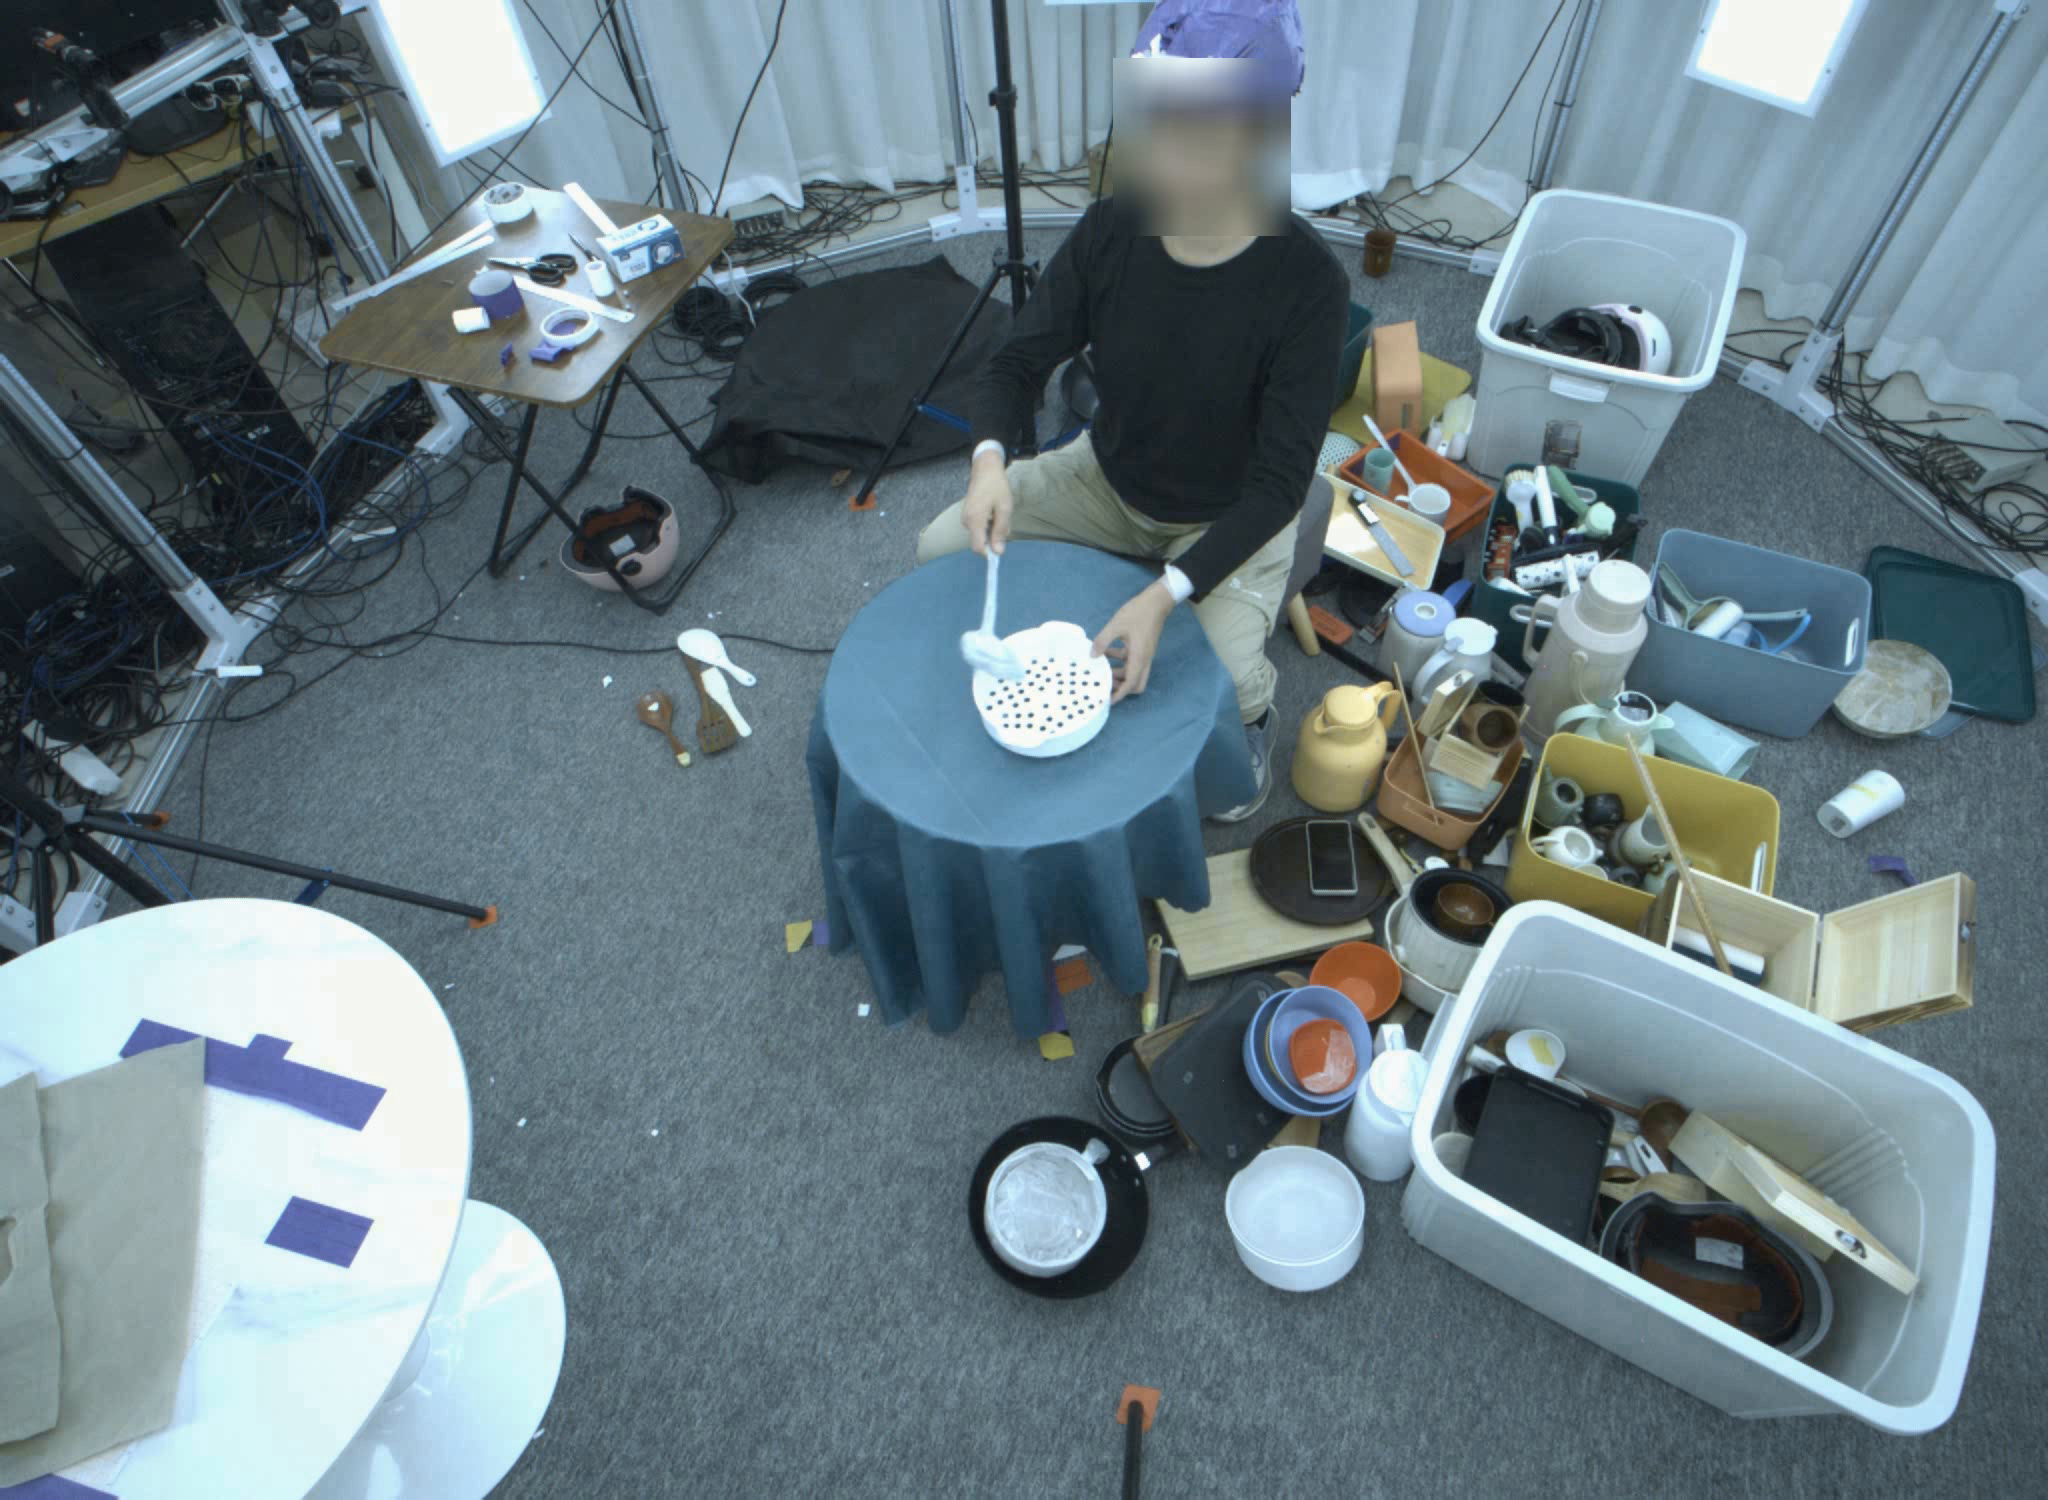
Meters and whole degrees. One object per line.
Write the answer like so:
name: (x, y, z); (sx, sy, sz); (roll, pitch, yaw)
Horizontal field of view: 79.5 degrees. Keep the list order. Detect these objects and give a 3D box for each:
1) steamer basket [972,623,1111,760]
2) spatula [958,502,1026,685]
steamer basket: (0.027, -0.080, 1.797); (0.200, 0.070, 0.230); (14, 59, 13)
spatula: (-0.045, -0.236, 1.738); (0.100, 0.044, 0.361); (18, 55, -25)
